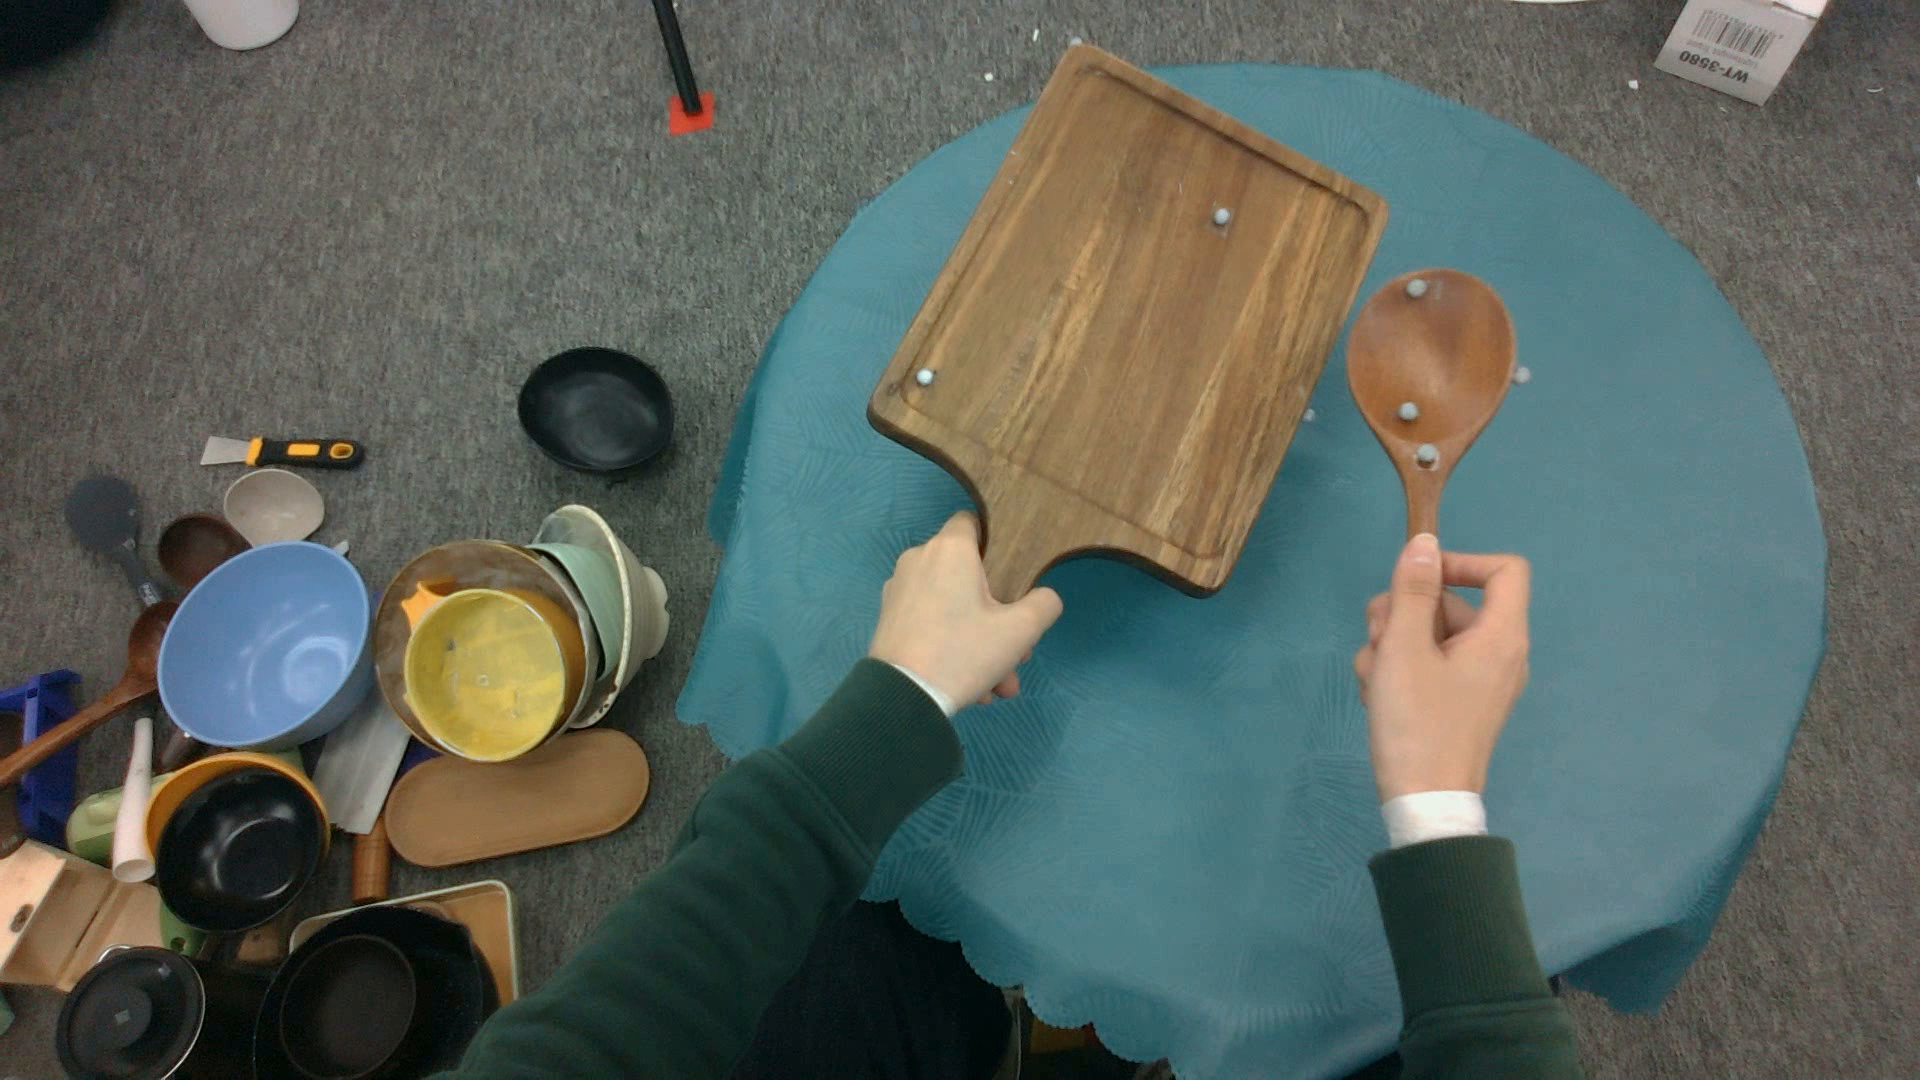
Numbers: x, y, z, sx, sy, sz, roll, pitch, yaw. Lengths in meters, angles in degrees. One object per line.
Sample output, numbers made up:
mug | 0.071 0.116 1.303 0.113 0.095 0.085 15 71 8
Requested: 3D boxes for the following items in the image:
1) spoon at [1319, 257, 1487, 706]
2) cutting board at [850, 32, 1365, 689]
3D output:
spoon | 0.200 -0.031 0.623 0.075 0.017 0.216 2 70 12
cutting board | 0.063 -0.084 0.694 0.201 0.023 0.353 28 70 -2
